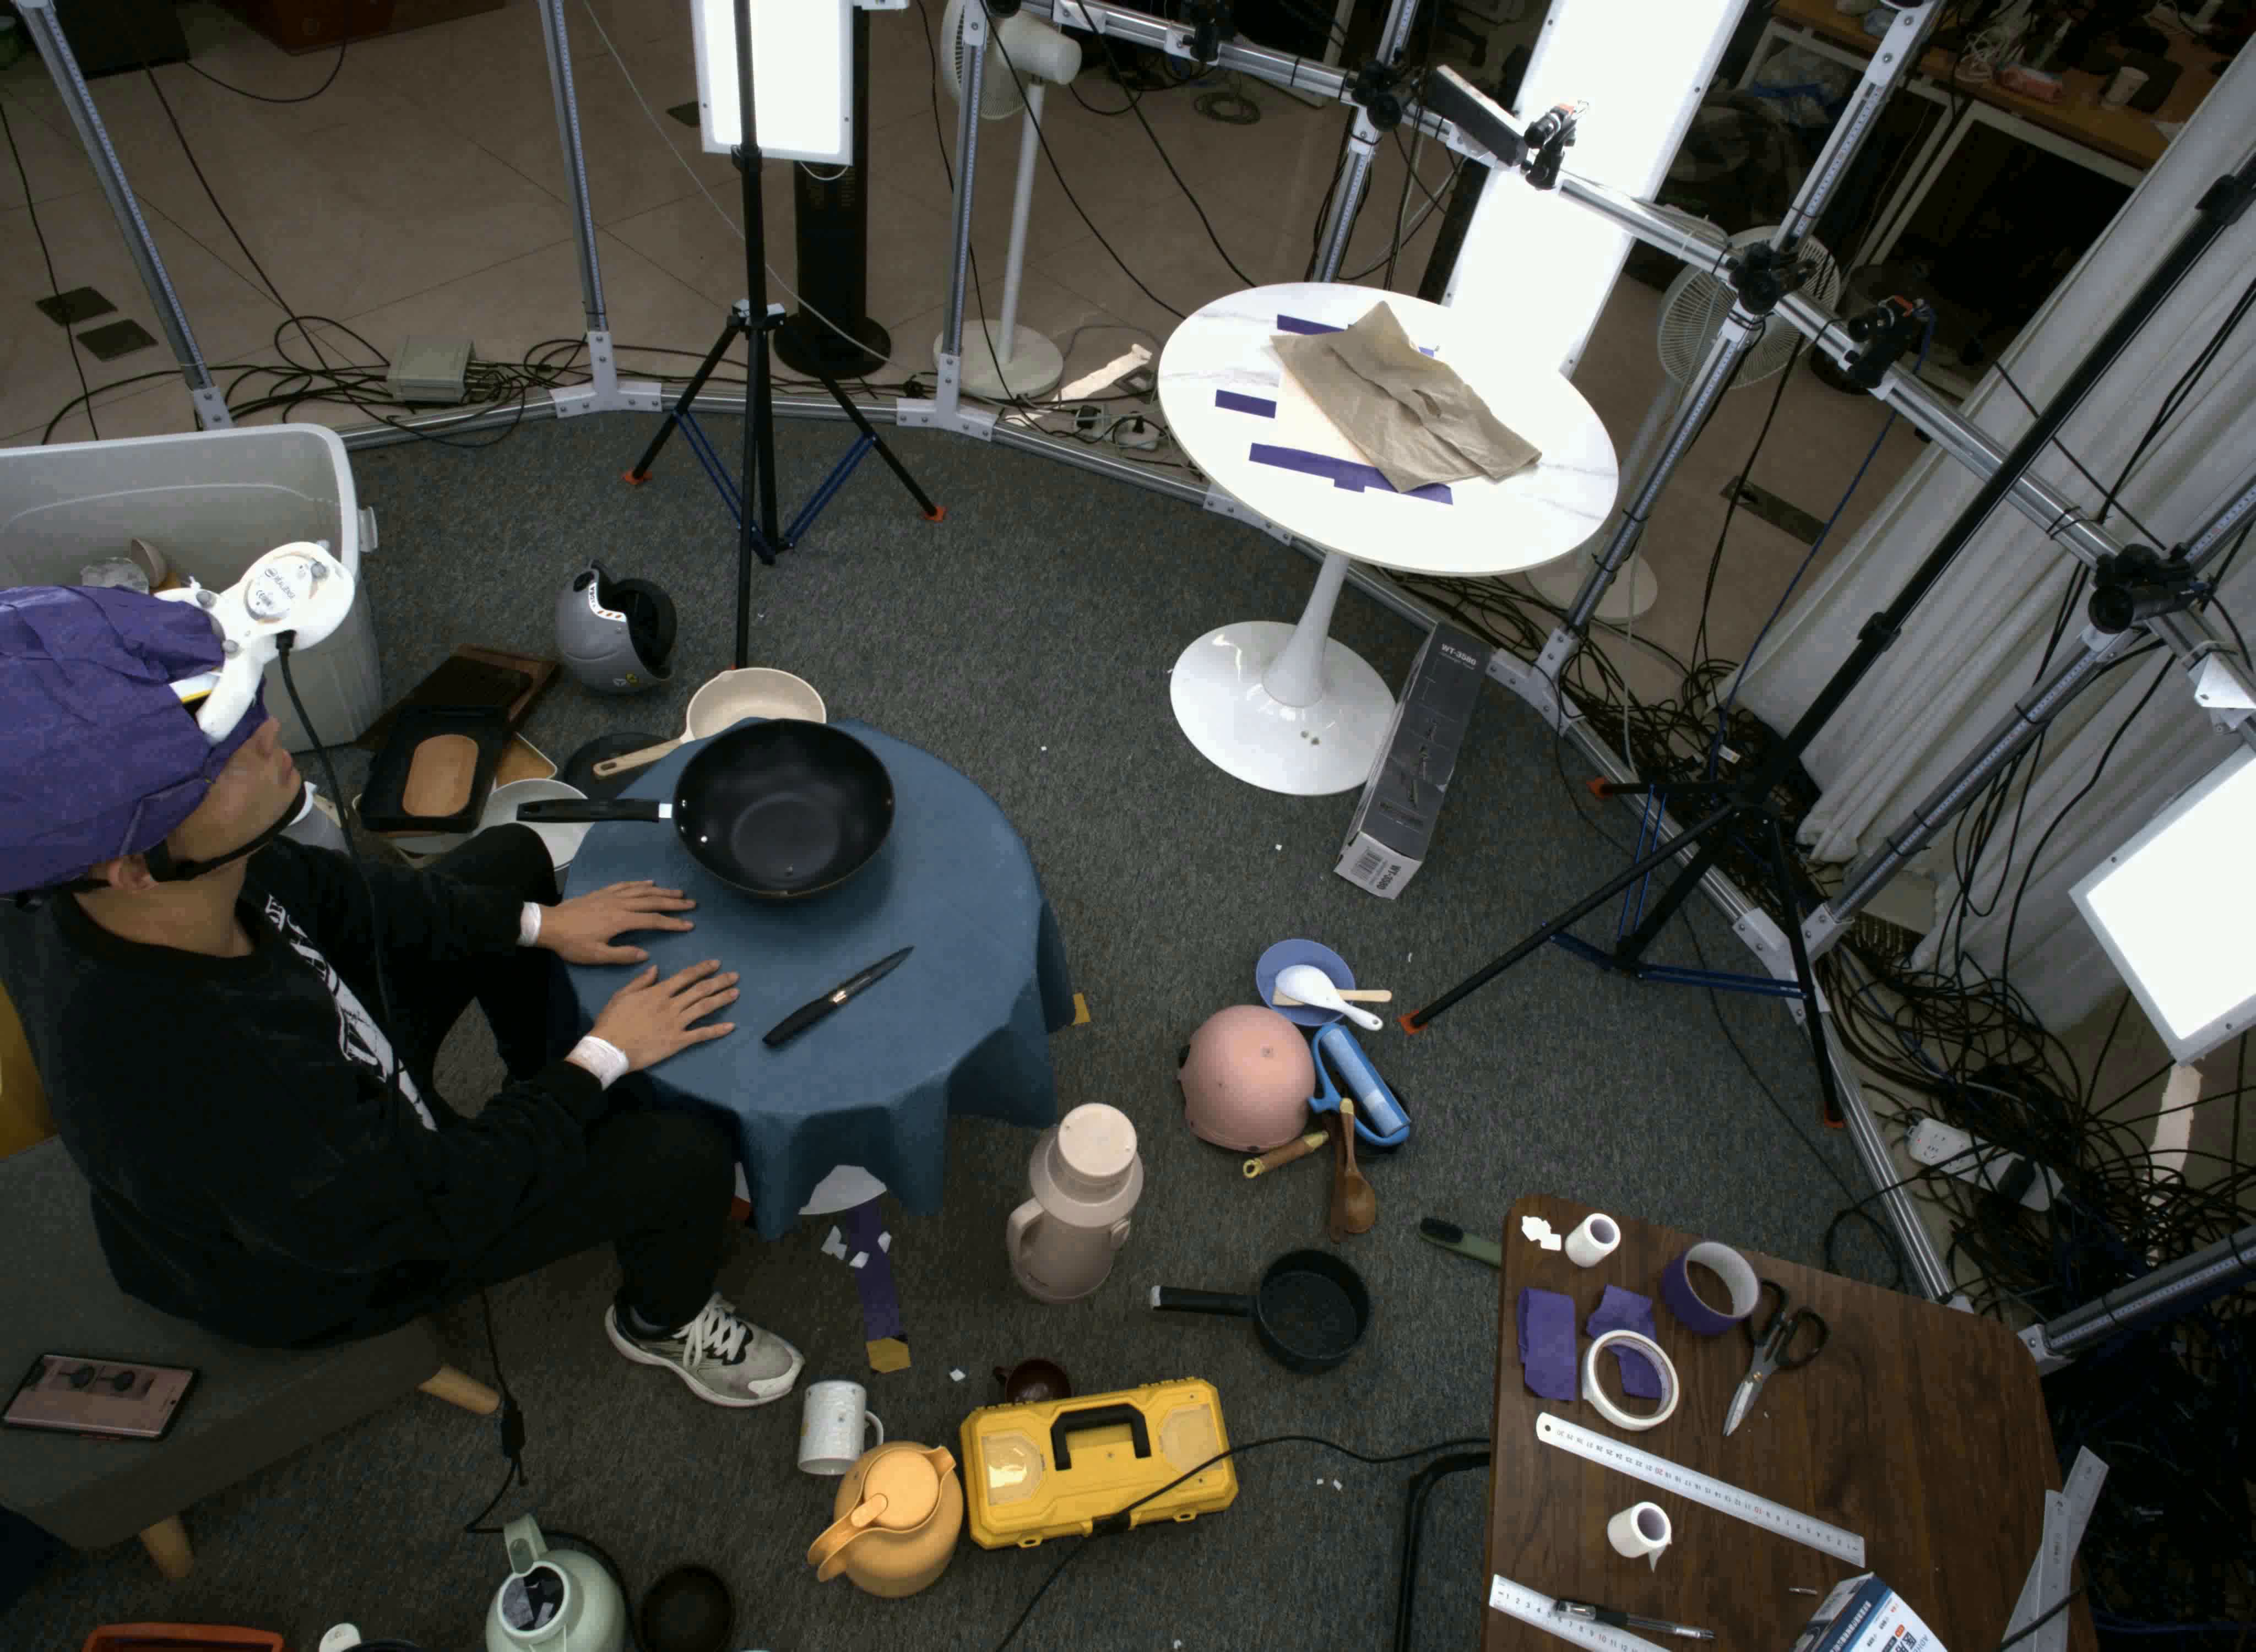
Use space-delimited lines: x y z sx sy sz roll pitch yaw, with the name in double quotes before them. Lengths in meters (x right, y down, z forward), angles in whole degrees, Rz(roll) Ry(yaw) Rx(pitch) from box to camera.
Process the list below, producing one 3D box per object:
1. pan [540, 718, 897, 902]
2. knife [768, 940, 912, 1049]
"pan" -0.526 -0.004 1.646 0.464 0.089 0.282 -3 55 -15
"knife" -0.347 0.200 1.586 0.025 0.018 0.226 31 49 31
